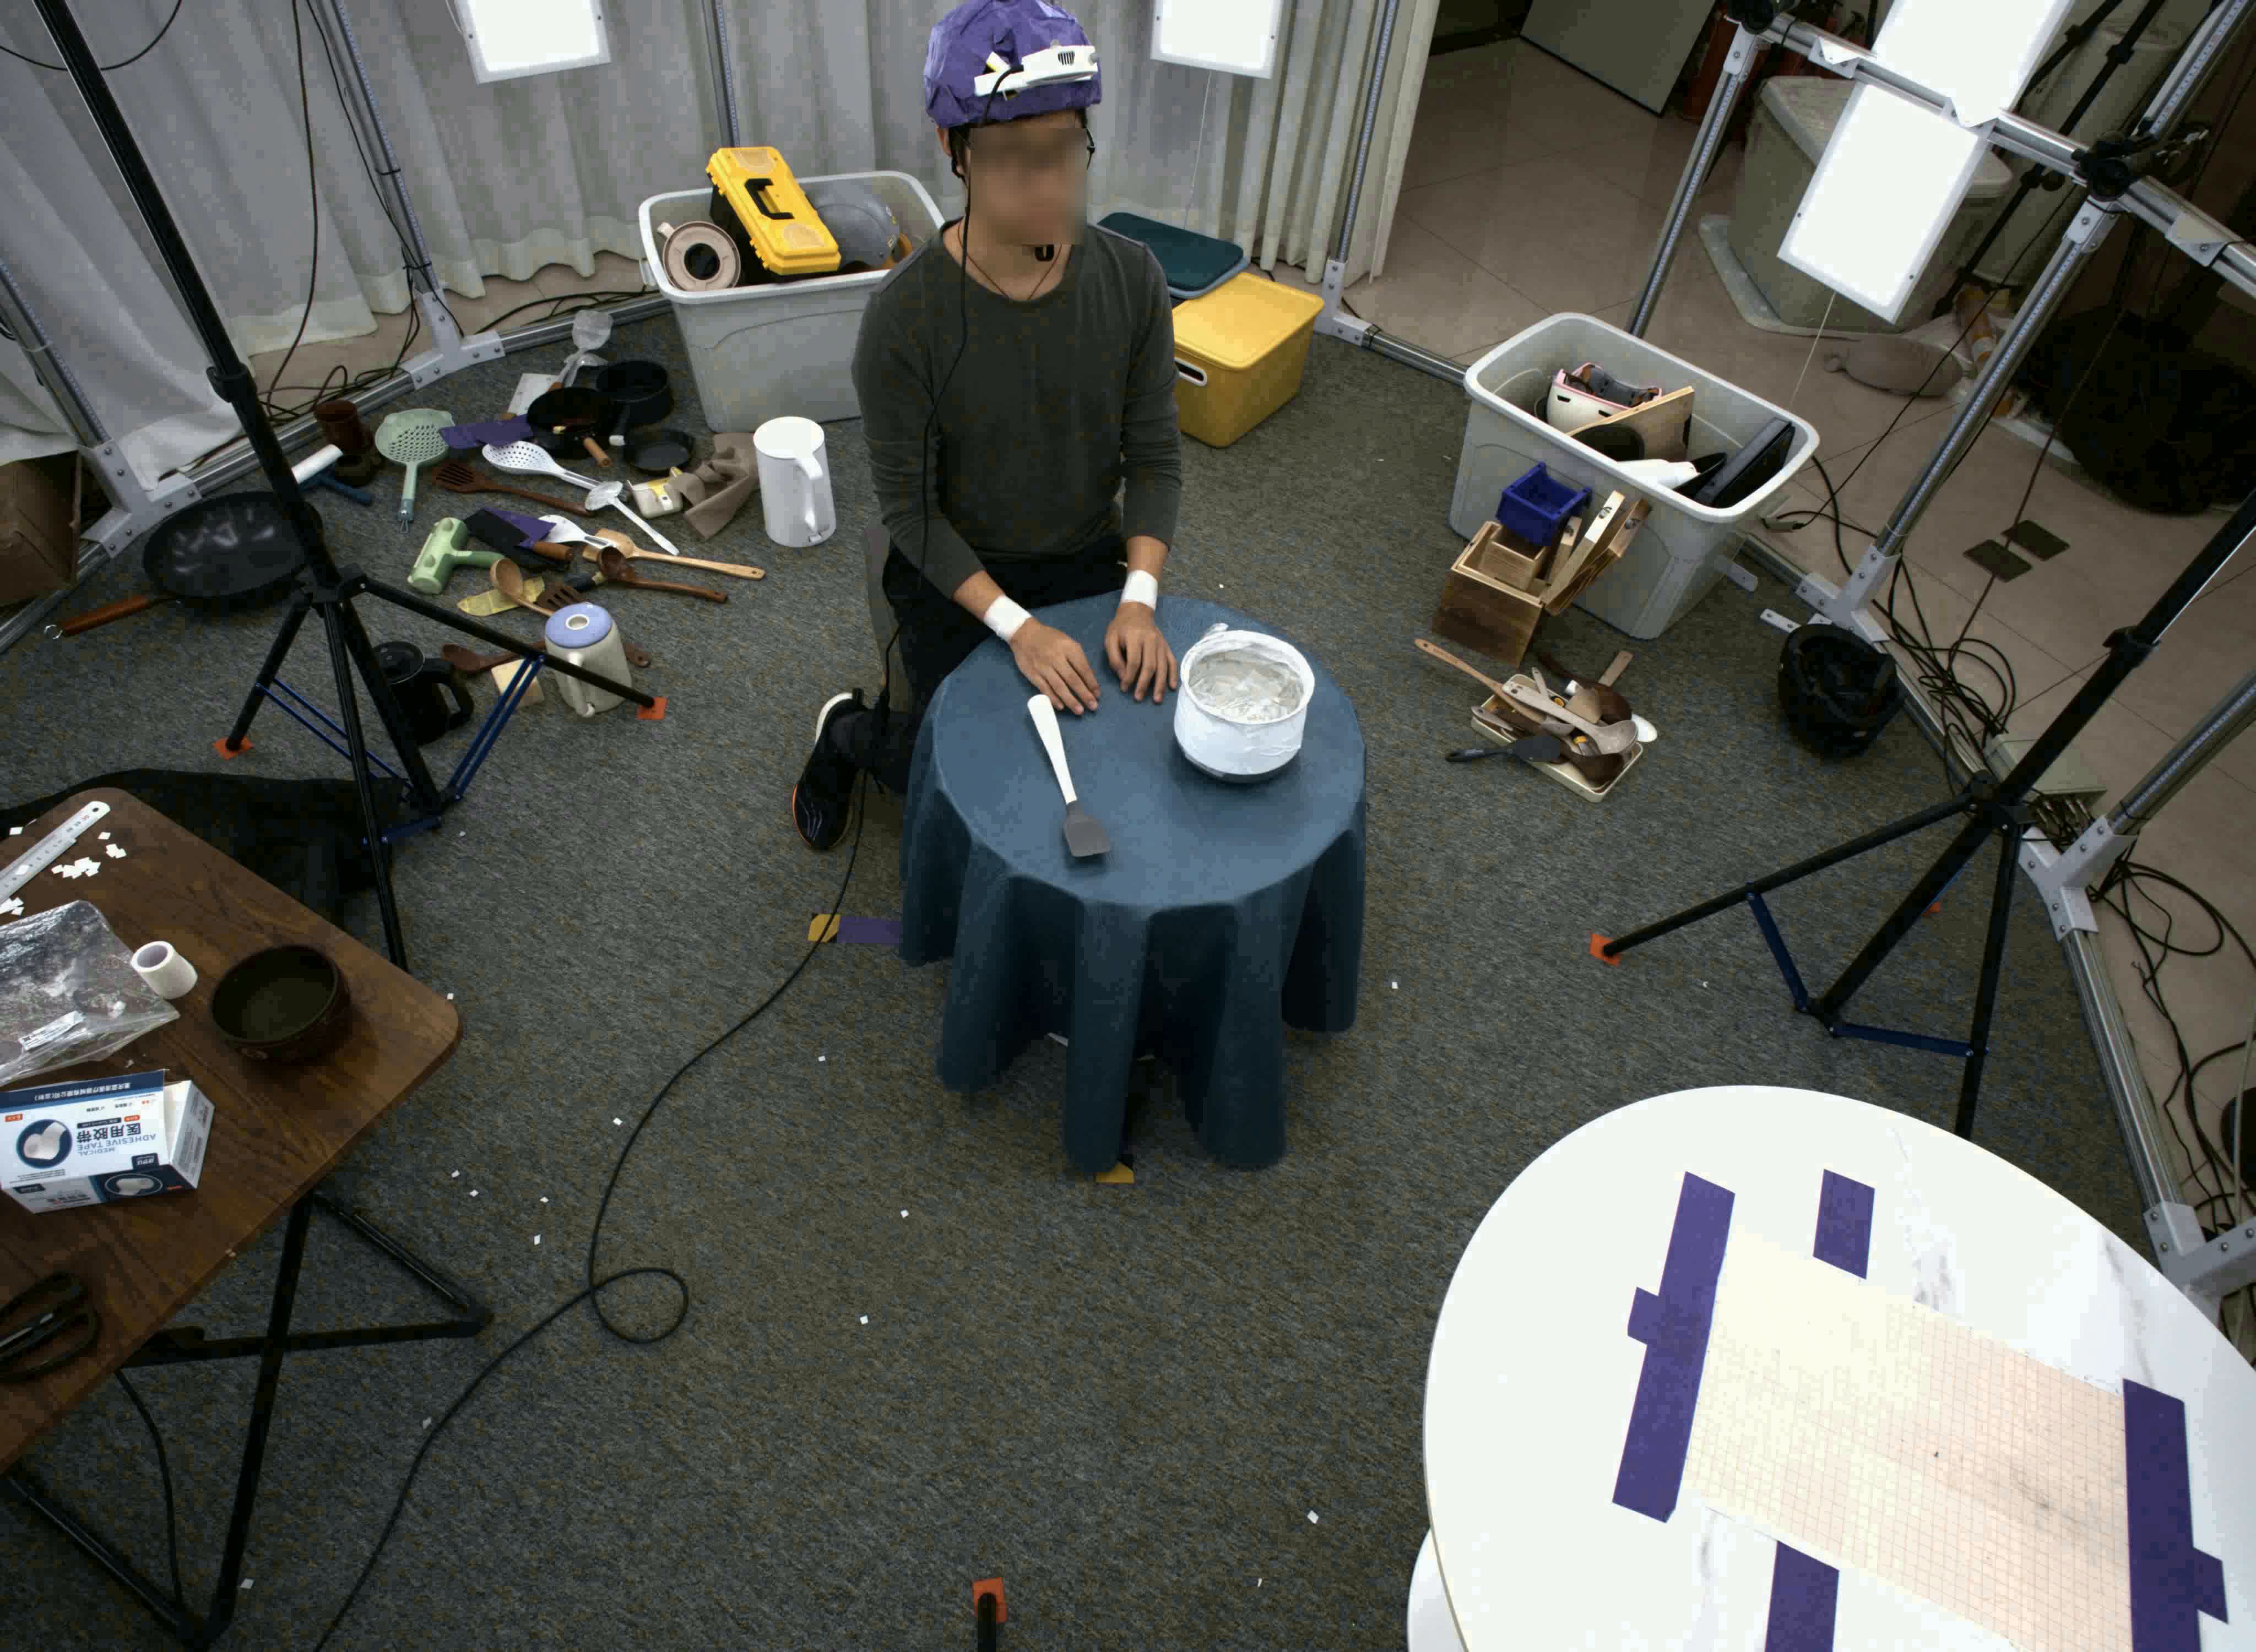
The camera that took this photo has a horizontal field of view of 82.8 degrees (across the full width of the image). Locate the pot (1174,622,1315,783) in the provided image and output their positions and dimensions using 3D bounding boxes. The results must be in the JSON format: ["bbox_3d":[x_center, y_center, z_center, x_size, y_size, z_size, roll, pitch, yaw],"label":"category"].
[{"bbox_3d":[0.144,-0.177,1.742,0.178,0.133,0.239,-12,51,-14],"label":"pot"}]

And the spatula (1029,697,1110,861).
[{"bbox_3d":[-0.084,-0.062,1.694,0.058,0.031,0.295,-7,49,-15],"label":"spatula"}]
